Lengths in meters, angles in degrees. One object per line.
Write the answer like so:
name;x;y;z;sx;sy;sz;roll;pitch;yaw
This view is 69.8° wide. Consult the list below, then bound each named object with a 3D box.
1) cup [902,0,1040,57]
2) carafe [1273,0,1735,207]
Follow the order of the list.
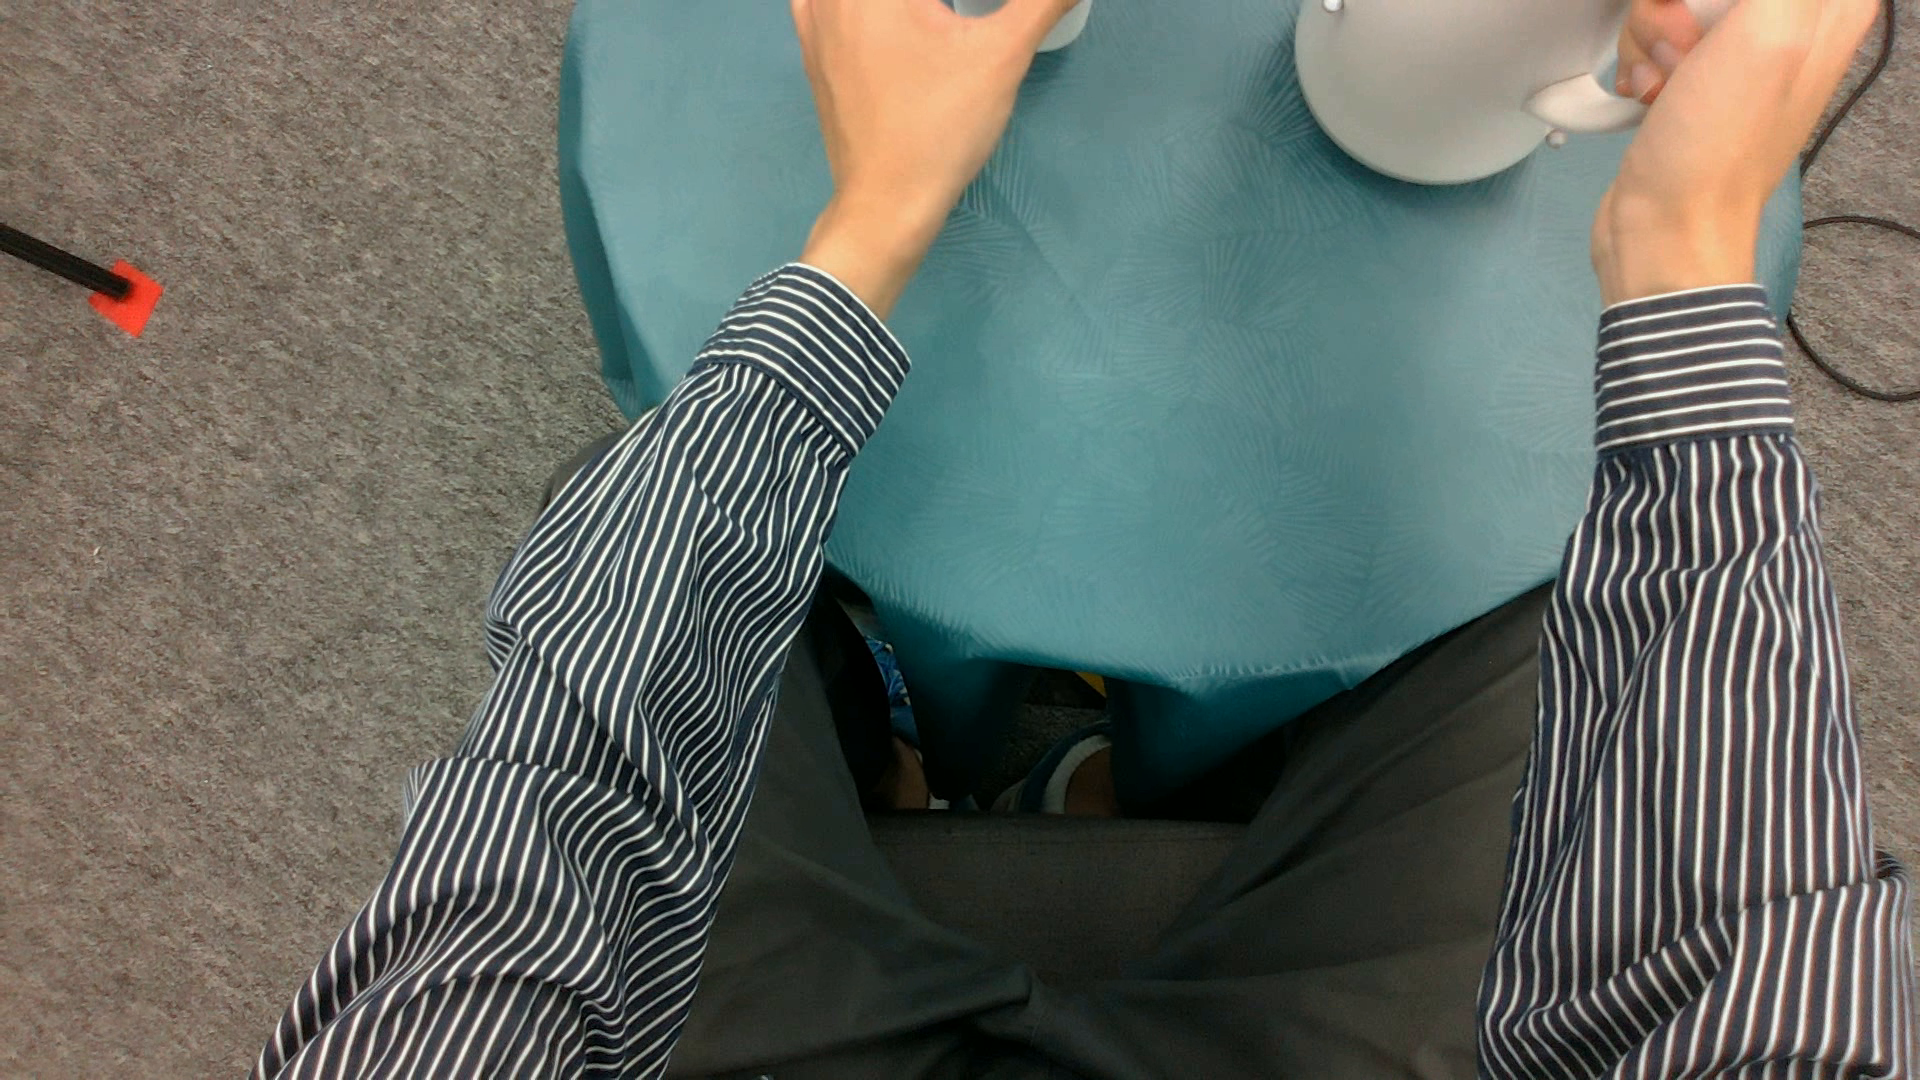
cup;0.004;-0.276;0.617;0.081;0.125;0.082;0;84;1
carafe;0.225;-0.228;0.539;0.132;0.248;0.168;-21;80;-5
